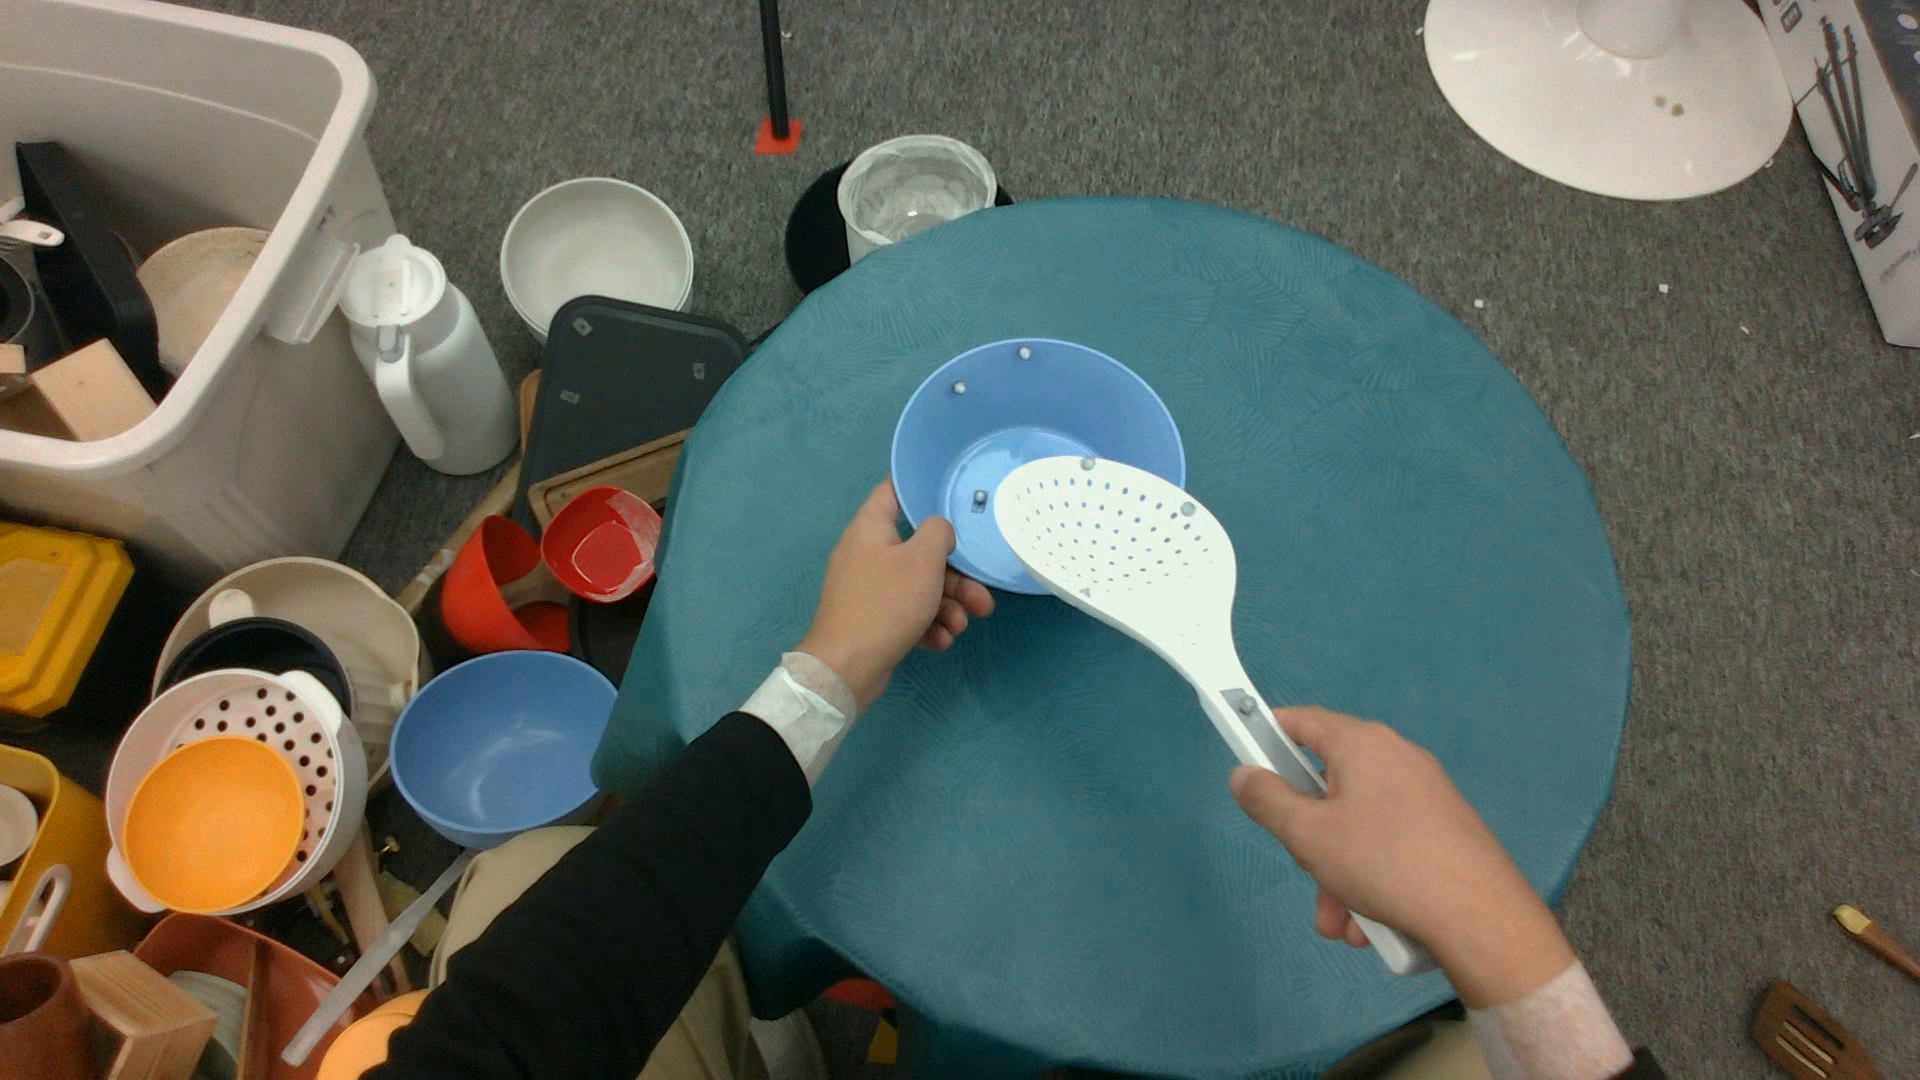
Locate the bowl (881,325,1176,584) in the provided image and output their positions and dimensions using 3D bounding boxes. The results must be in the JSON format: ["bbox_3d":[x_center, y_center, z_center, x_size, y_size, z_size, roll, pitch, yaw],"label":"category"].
[{"bbox_3d":[0.040,-0.041,0.844,0.176,0.070,0.176,1,64,-2],"label":"bowl"}]

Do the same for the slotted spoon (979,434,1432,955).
[{"bbox_3d":[0.117,0.057,0.685,0.136,0.045,0.350,-4,37,-27],"label":"slotted spoon"}]
